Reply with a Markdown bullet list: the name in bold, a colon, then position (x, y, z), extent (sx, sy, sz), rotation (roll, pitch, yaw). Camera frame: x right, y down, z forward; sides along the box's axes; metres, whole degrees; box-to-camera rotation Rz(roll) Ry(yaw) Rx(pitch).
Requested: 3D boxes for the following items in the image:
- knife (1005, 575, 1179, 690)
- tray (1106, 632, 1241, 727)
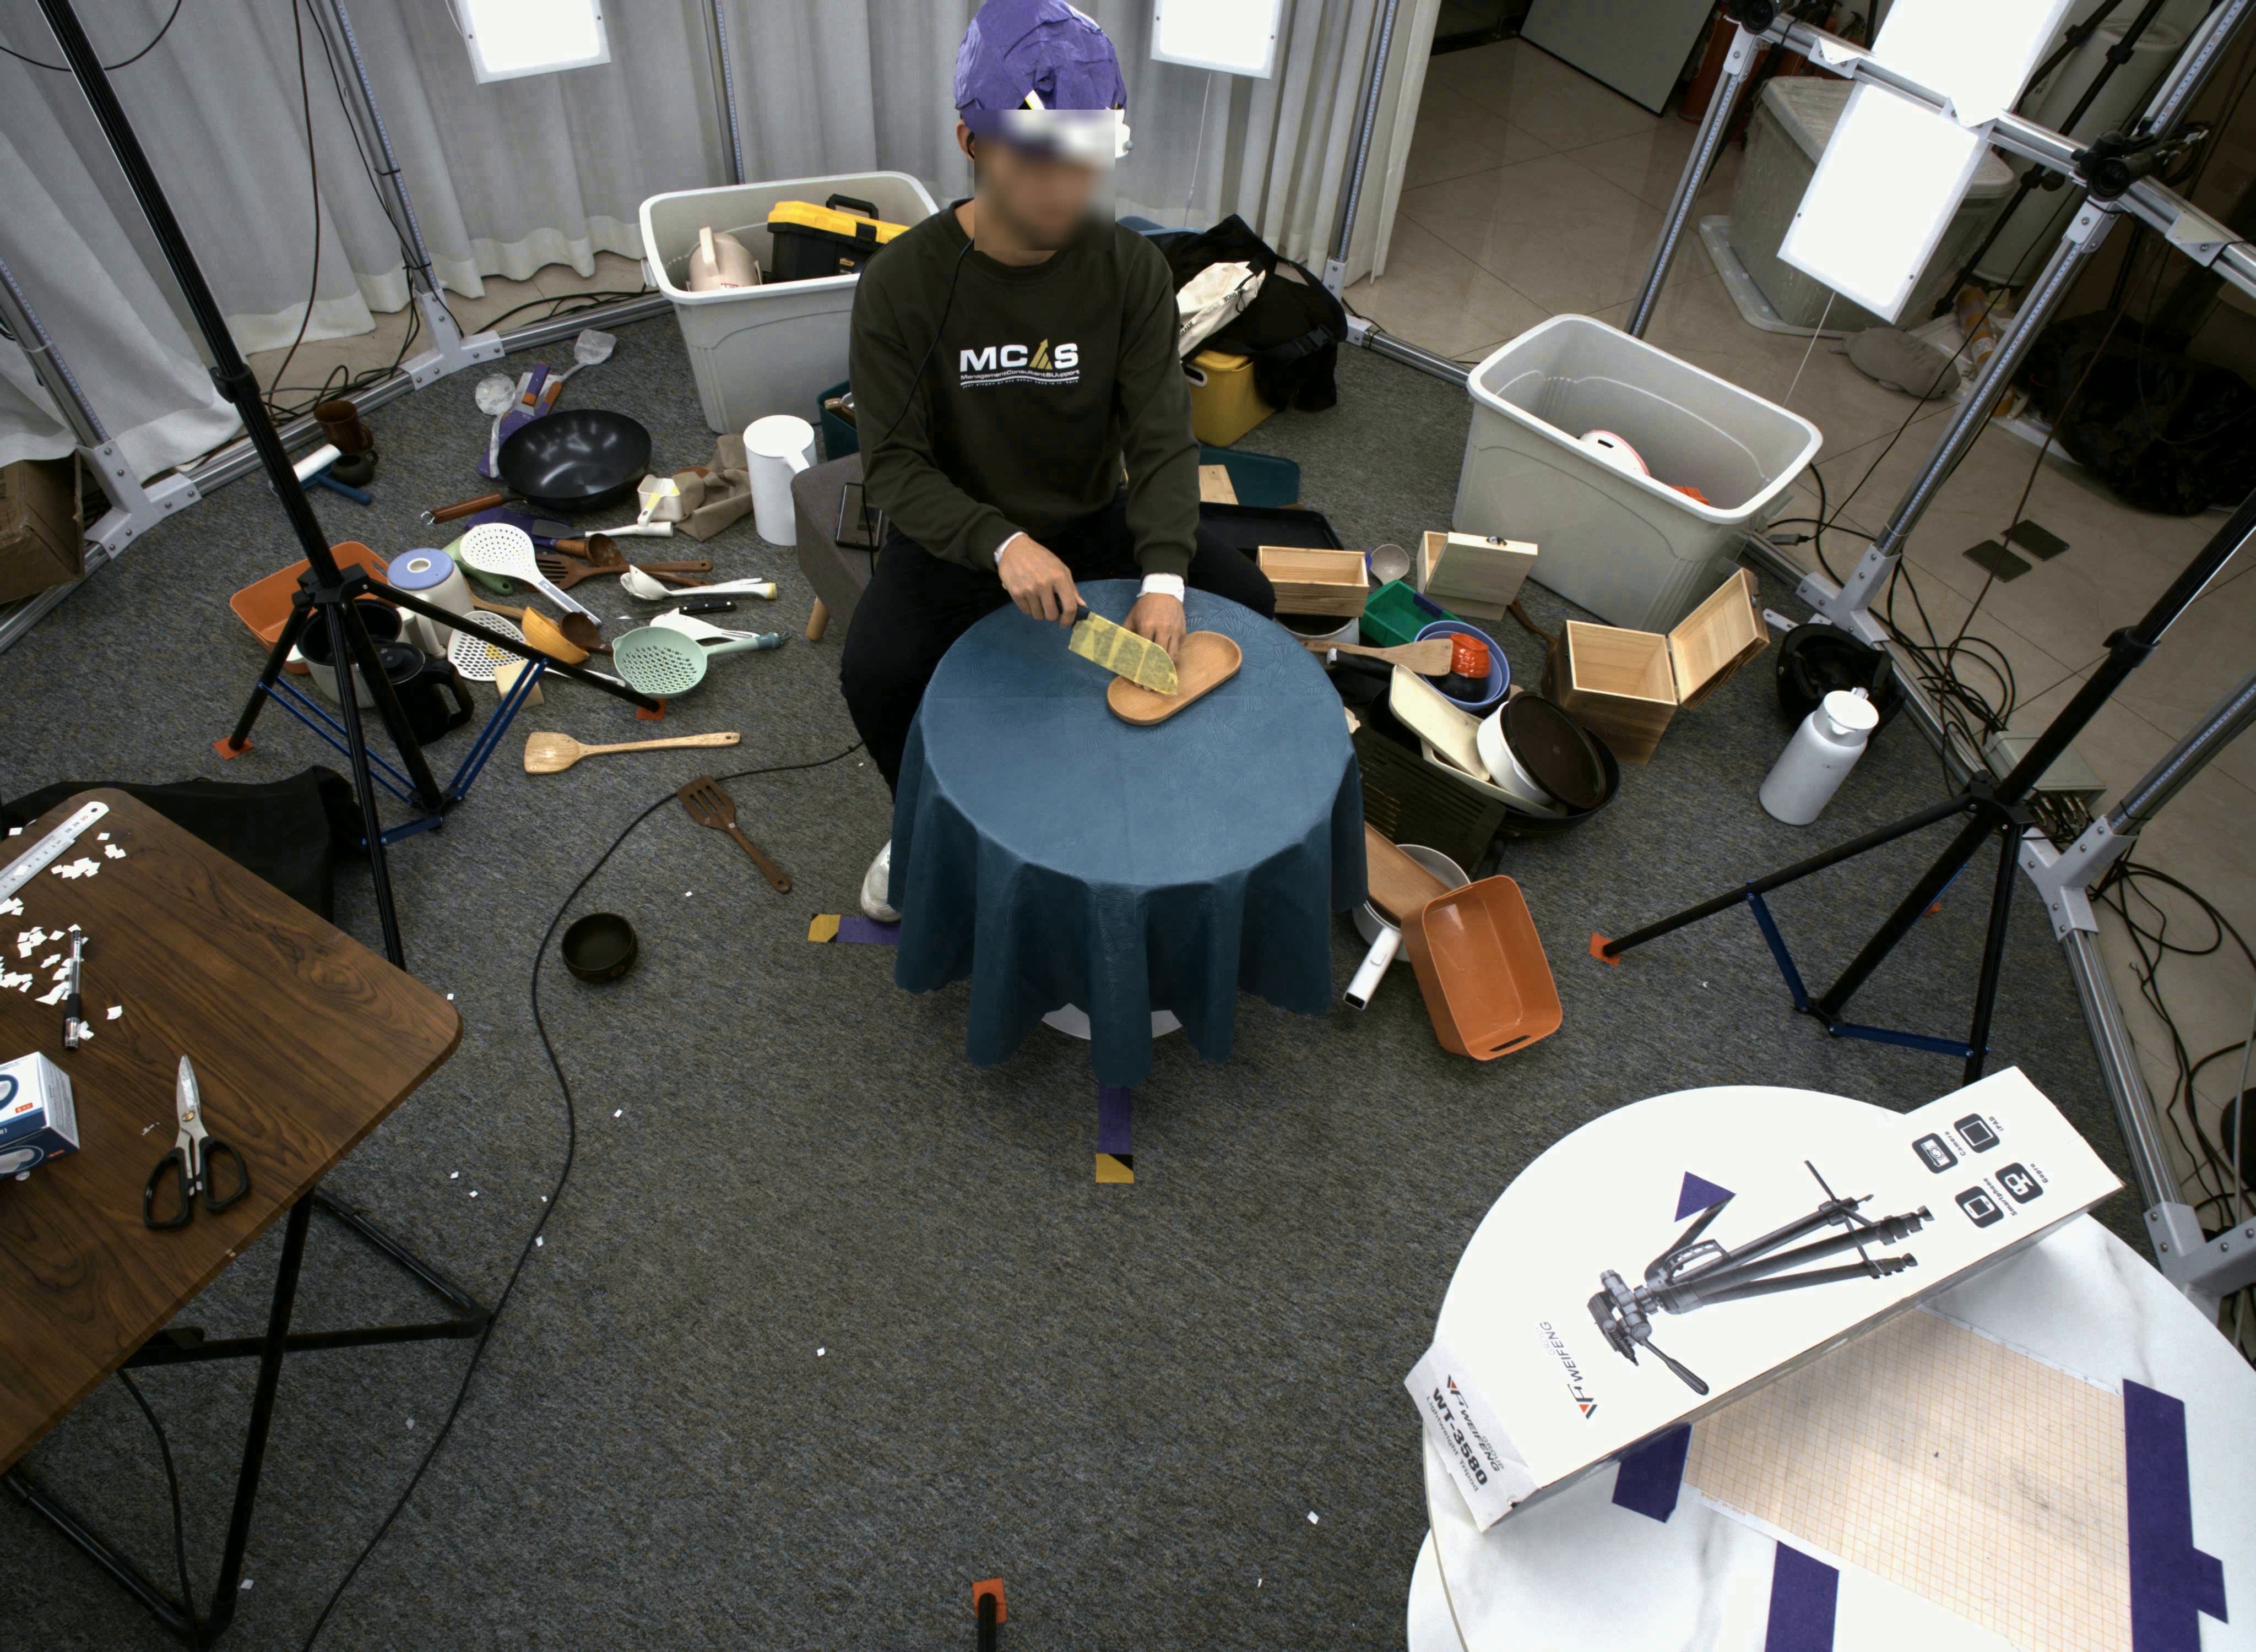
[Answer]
- **knife**: position (-0.052, -0.273, 1.819), extent (0.291, 0.079, 0.027), rotation (31, 37, 10)
- **tray**: position (0.067, -0.212, 1.846), extent (0.233, 0.020, 0.103), rotation (-35, 58, -27)
